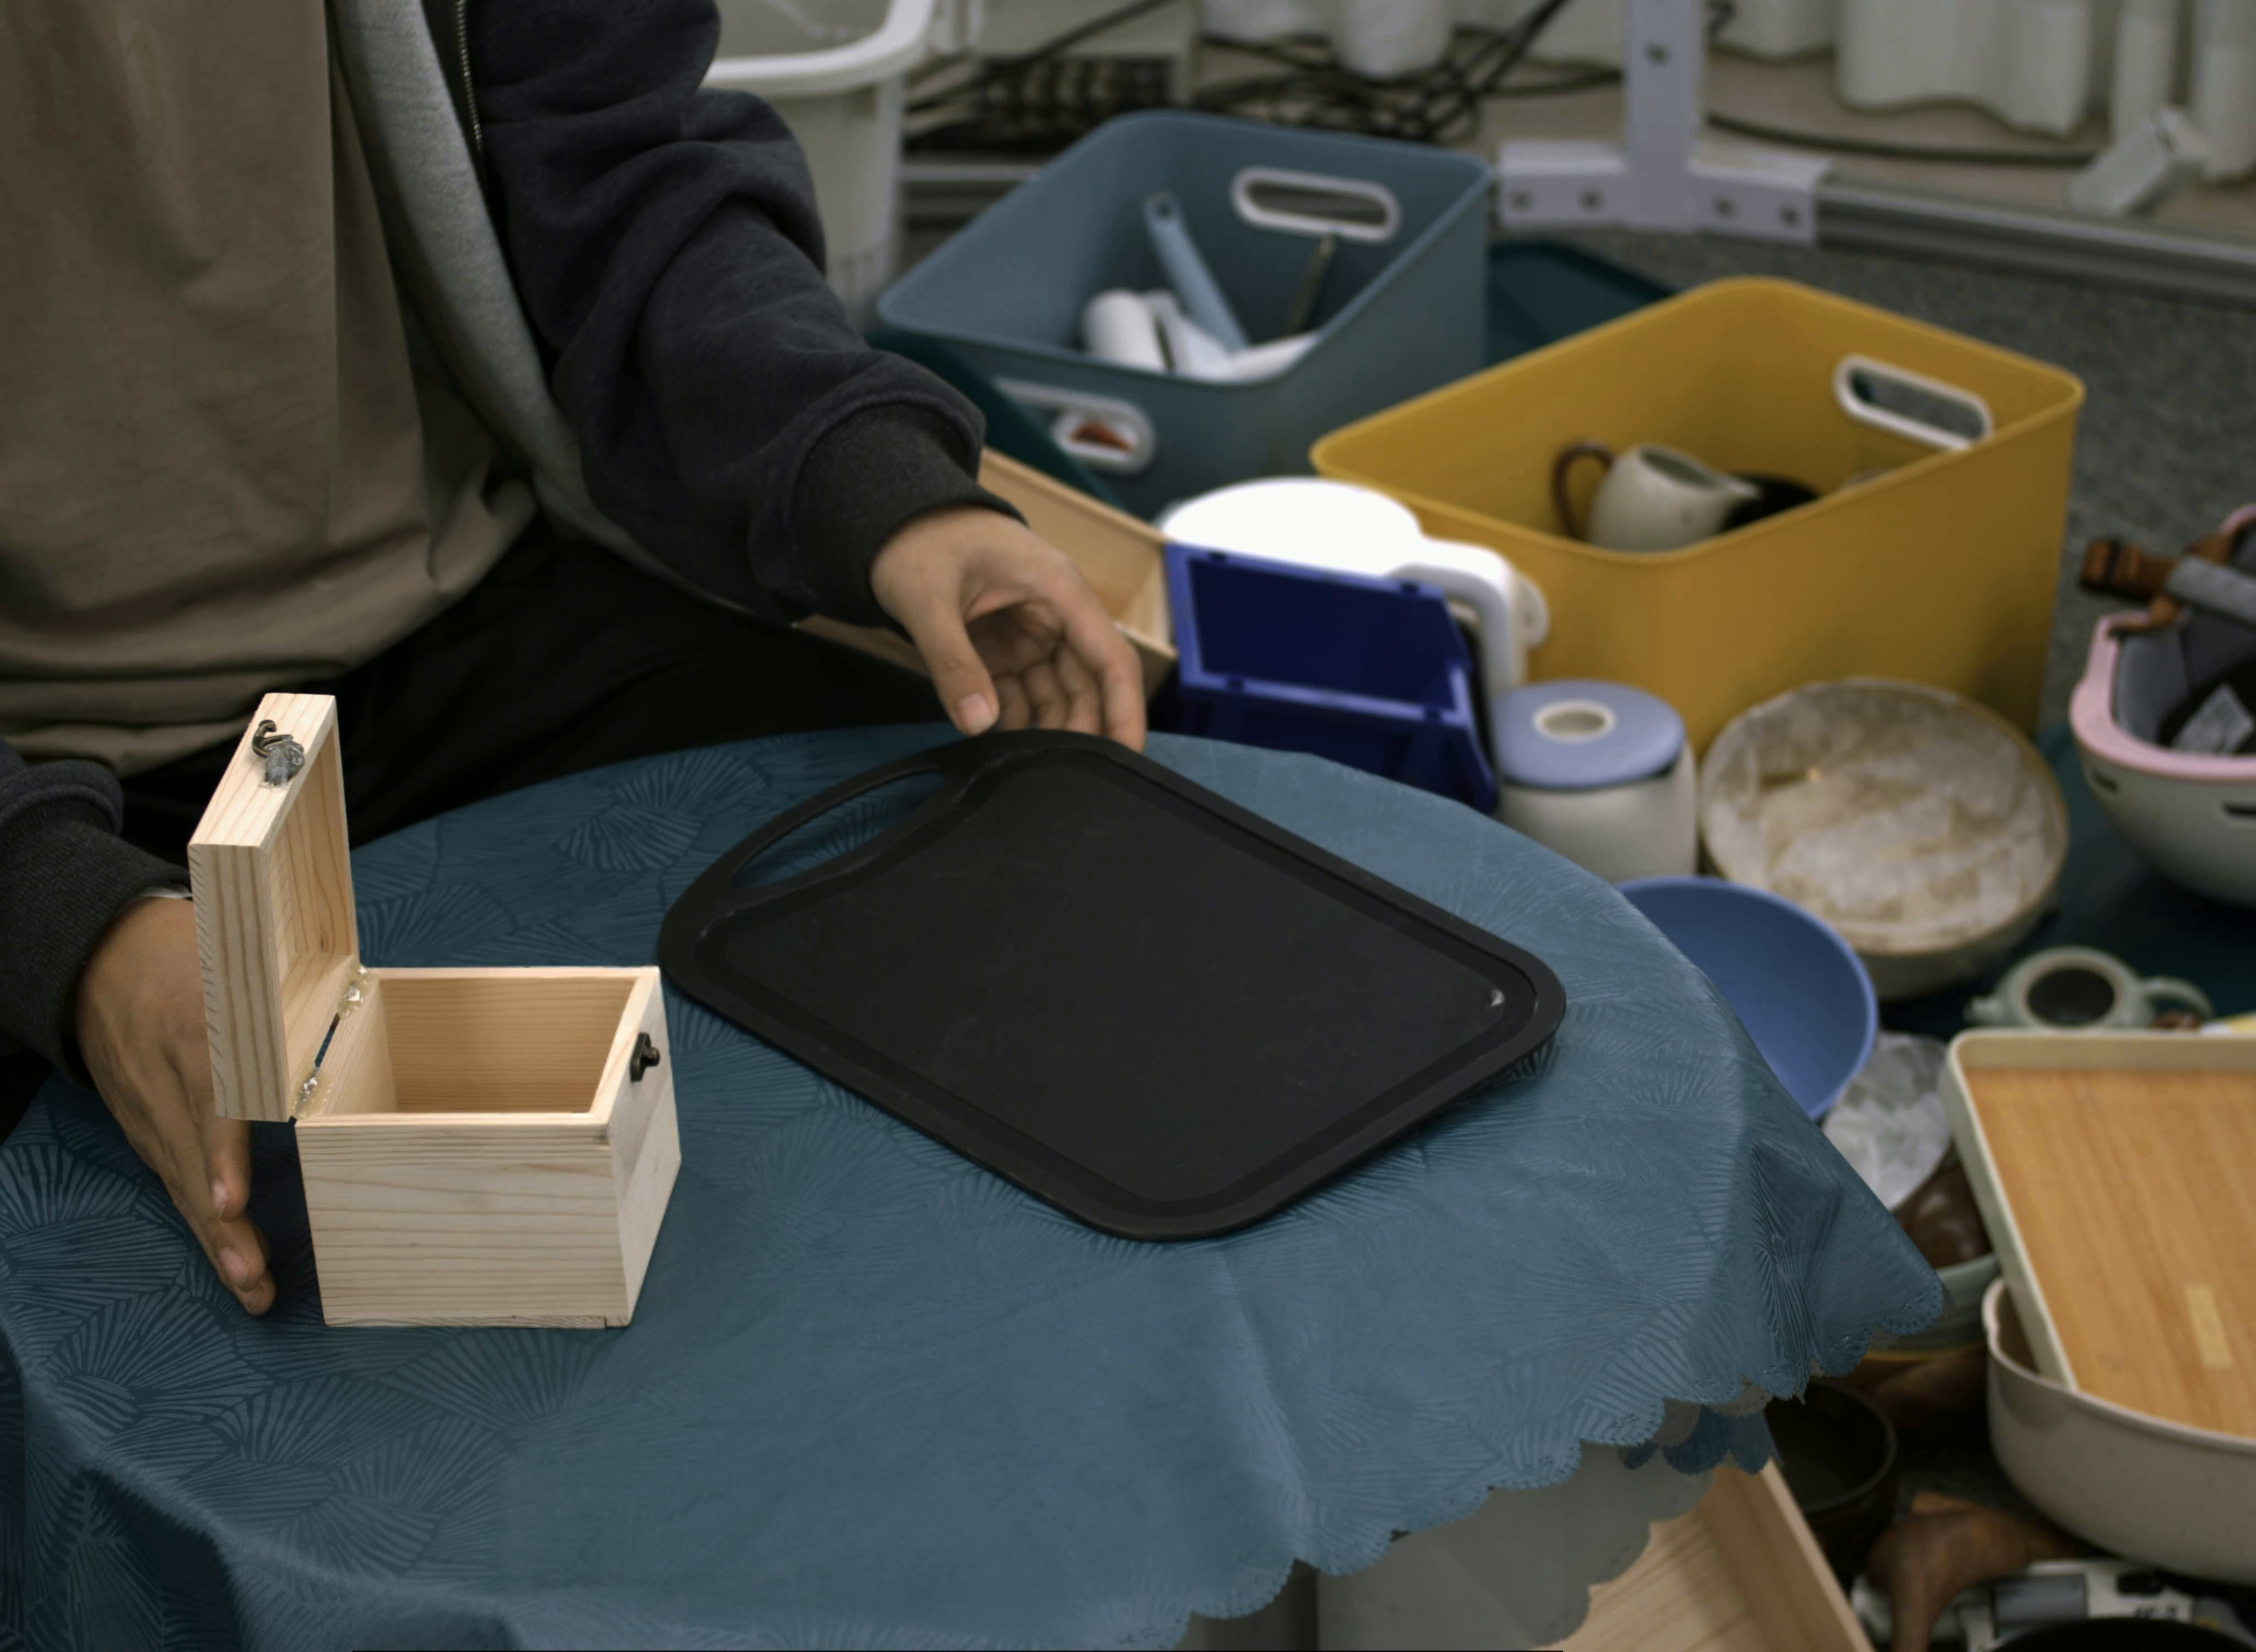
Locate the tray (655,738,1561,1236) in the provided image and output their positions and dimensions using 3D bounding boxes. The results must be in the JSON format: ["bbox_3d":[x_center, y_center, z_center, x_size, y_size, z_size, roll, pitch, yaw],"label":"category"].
[{"bbox_3d":[-0.017,0.048,1.981,0.213,0.009,0.325,-28,37,-32],"label":"tray"}]

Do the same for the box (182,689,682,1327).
[{"bbox_3d":[-0.219,0.058,1.809,0.133,0.182,0.104,-2,27,6],"label":"box"}]
